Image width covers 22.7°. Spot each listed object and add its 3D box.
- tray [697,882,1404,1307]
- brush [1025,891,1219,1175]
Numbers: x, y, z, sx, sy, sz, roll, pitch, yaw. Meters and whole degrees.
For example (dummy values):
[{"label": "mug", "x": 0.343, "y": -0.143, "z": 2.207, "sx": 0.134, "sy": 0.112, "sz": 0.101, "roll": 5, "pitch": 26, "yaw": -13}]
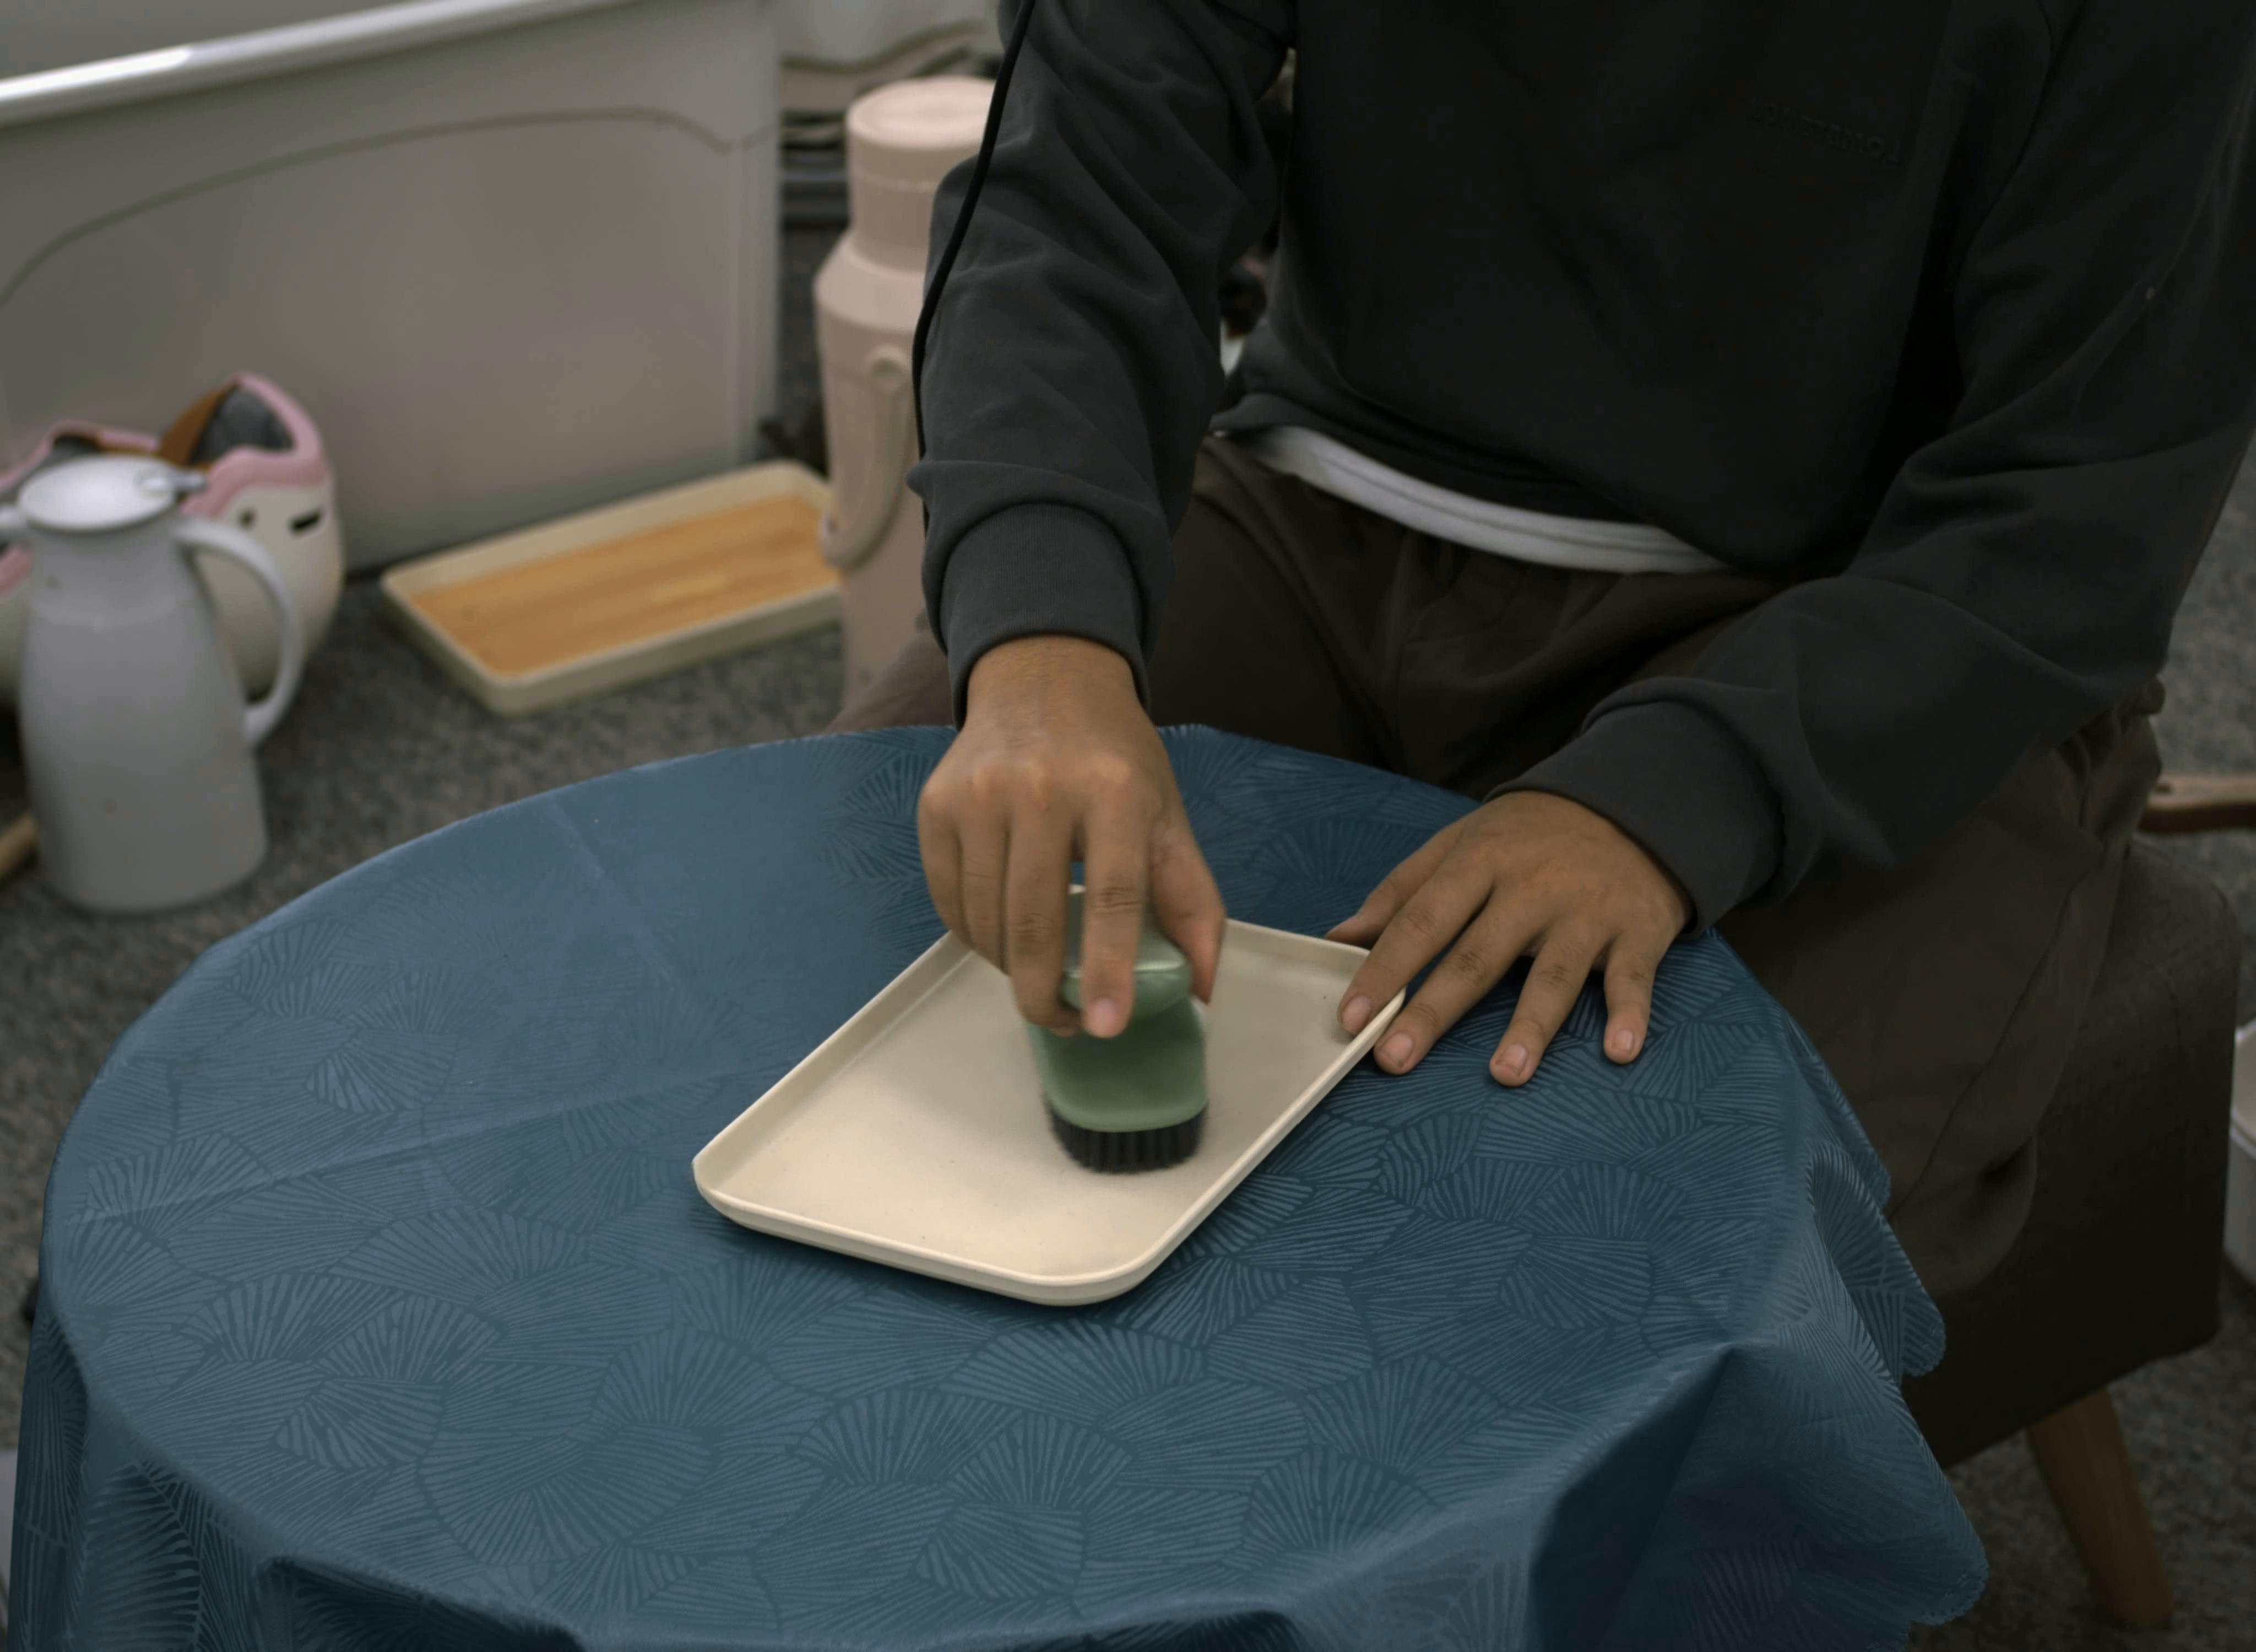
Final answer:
[{"label": "tray", "x": -0.023, "y": 0.090, "z": 1.909, "sx": 0.170, "sy": 0.017, "sz": 0.243, "roll": 13, "pitch": 31, "yaw": 26}, {"label": "brush", "x": -0.002, "y": 0.068, "z": 1.906, "sx": 0.059, "sy": 0.075, "sz": 0.123, "roll": -5, "pitch": 13, "yaw": -8}]
